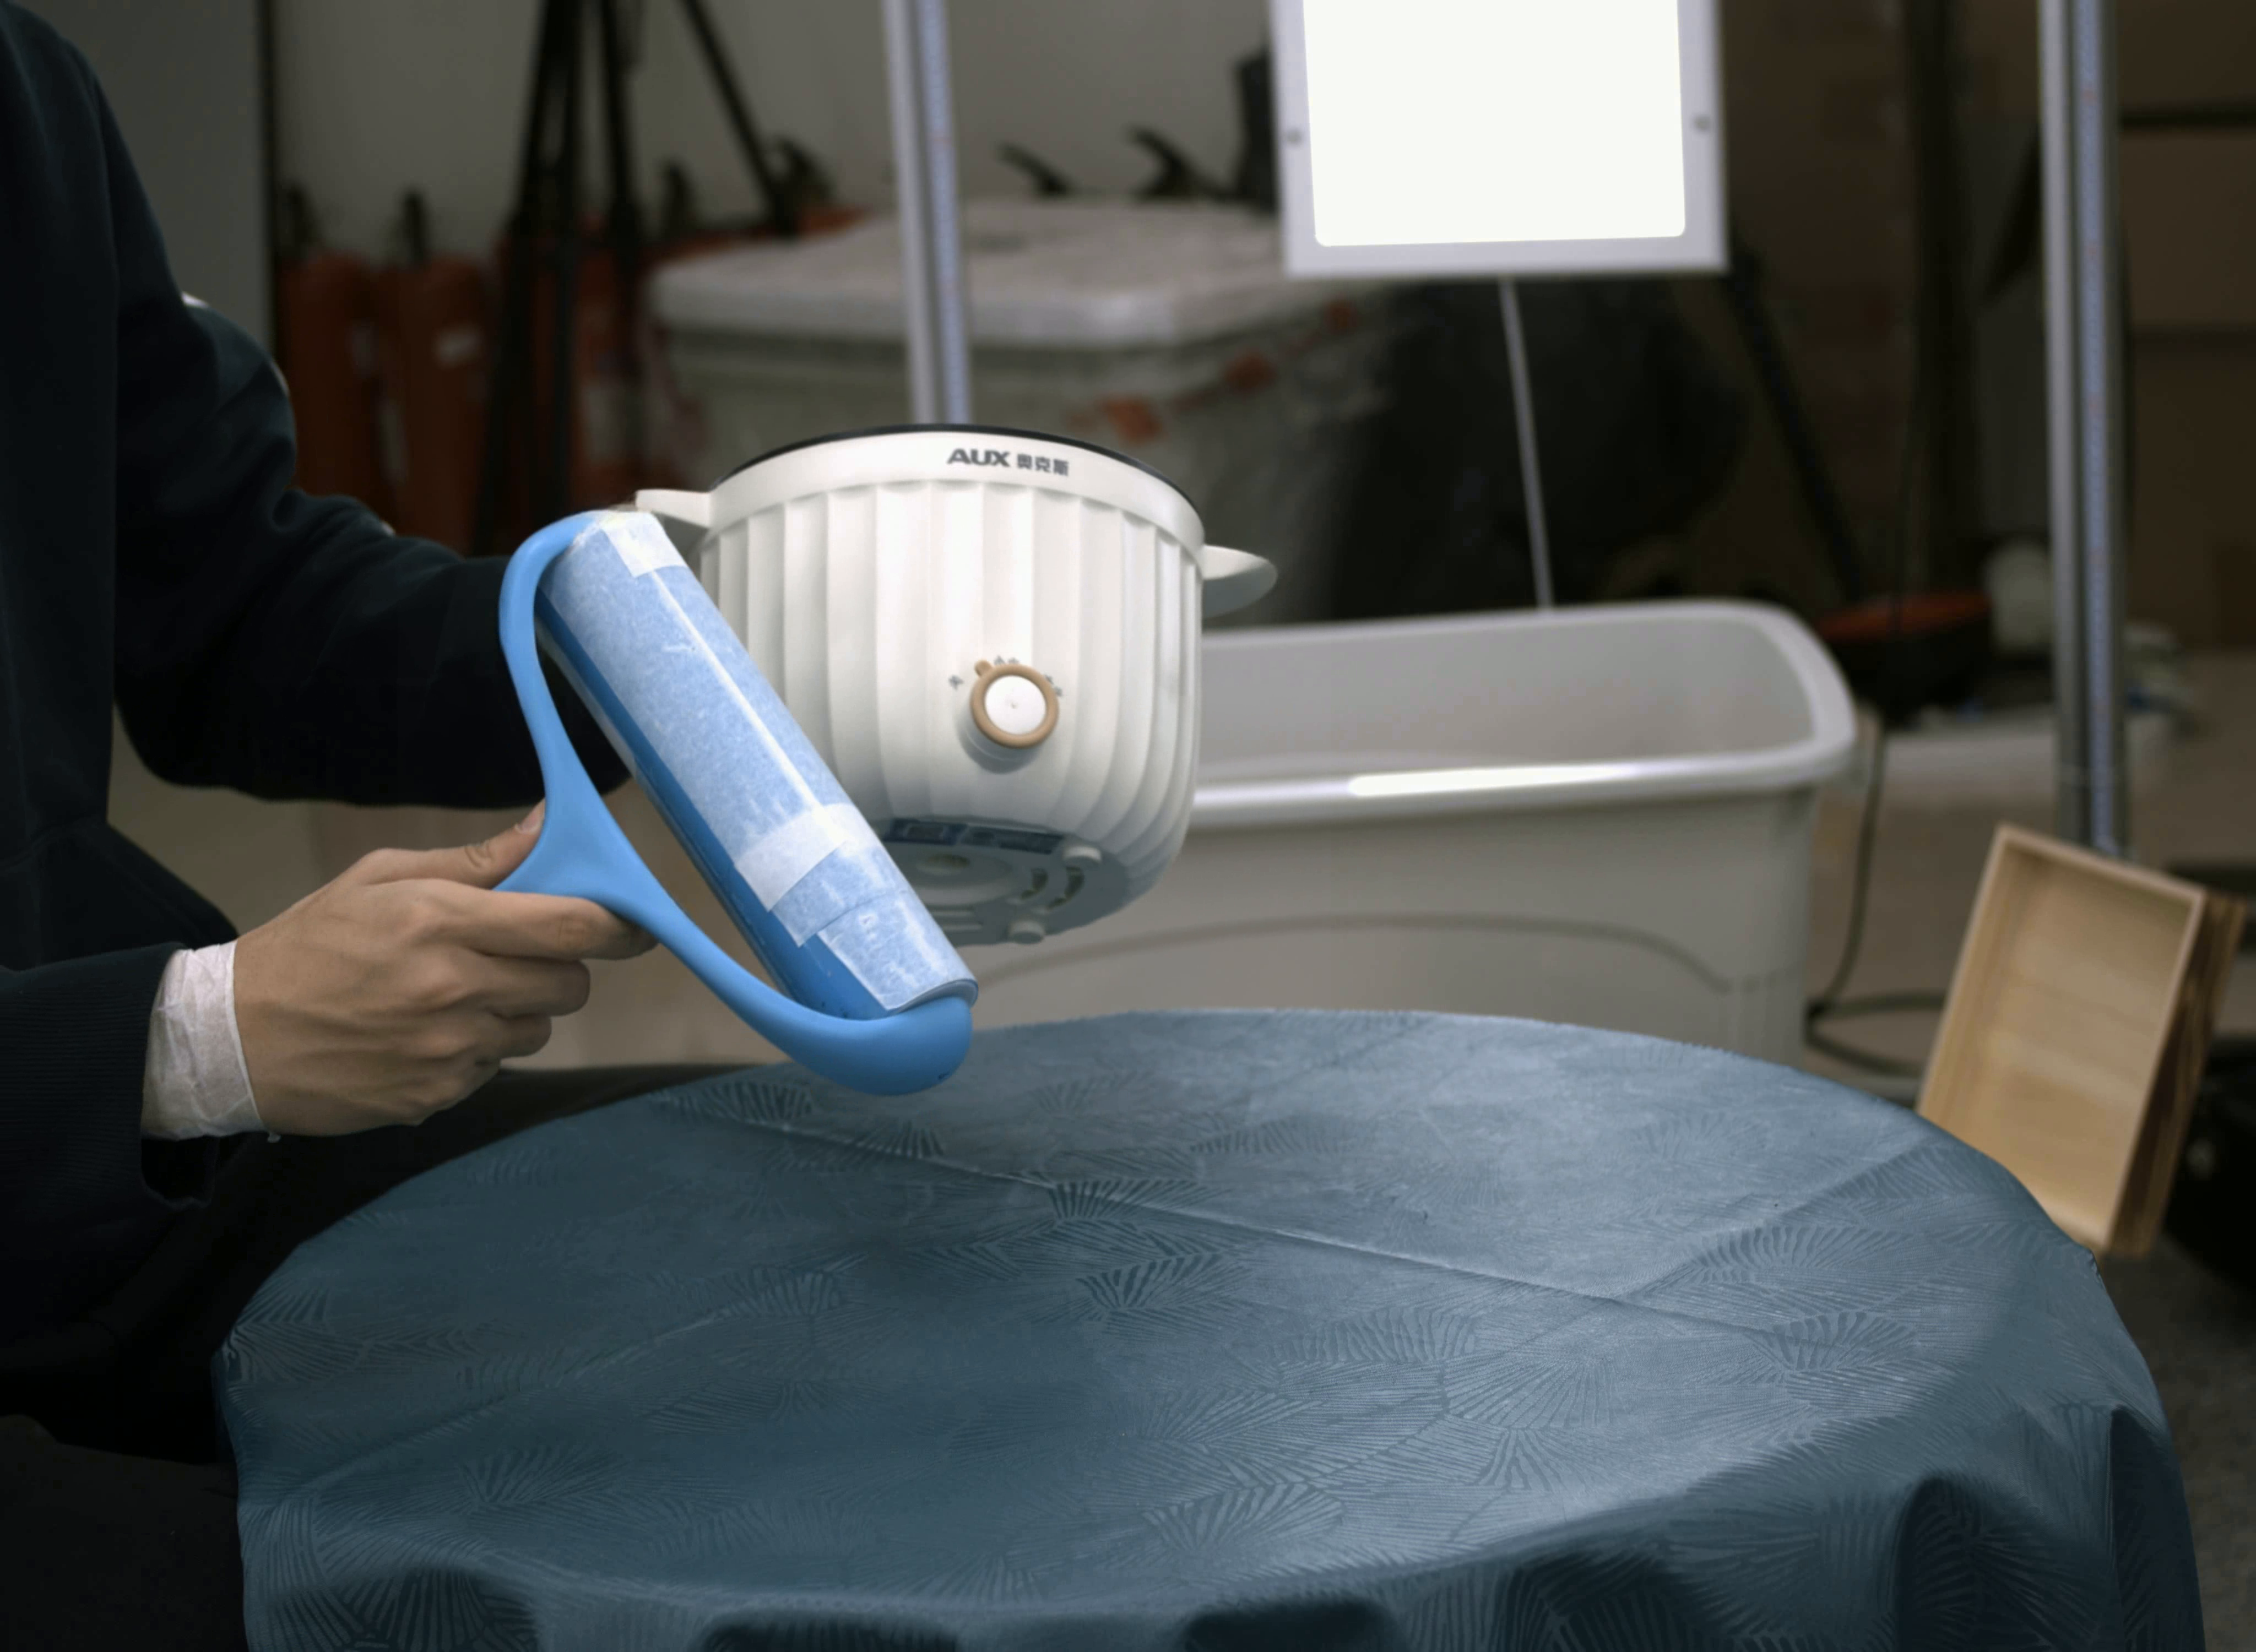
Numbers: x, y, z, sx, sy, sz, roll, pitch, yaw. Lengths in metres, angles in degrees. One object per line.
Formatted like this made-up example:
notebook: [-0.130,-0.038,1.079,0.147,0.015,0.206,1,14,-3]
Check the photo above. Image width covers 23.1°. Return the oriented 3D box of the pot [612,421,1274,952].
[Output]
pot: [-0.060,-0.042,1.909,0.237,0.142,0.193,4,-25,-14]

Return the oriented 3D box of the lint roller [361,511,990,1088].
lint roller: [-0.167,0.022,1.755,0.178,0.230,0.068,-35,-18,-12]
